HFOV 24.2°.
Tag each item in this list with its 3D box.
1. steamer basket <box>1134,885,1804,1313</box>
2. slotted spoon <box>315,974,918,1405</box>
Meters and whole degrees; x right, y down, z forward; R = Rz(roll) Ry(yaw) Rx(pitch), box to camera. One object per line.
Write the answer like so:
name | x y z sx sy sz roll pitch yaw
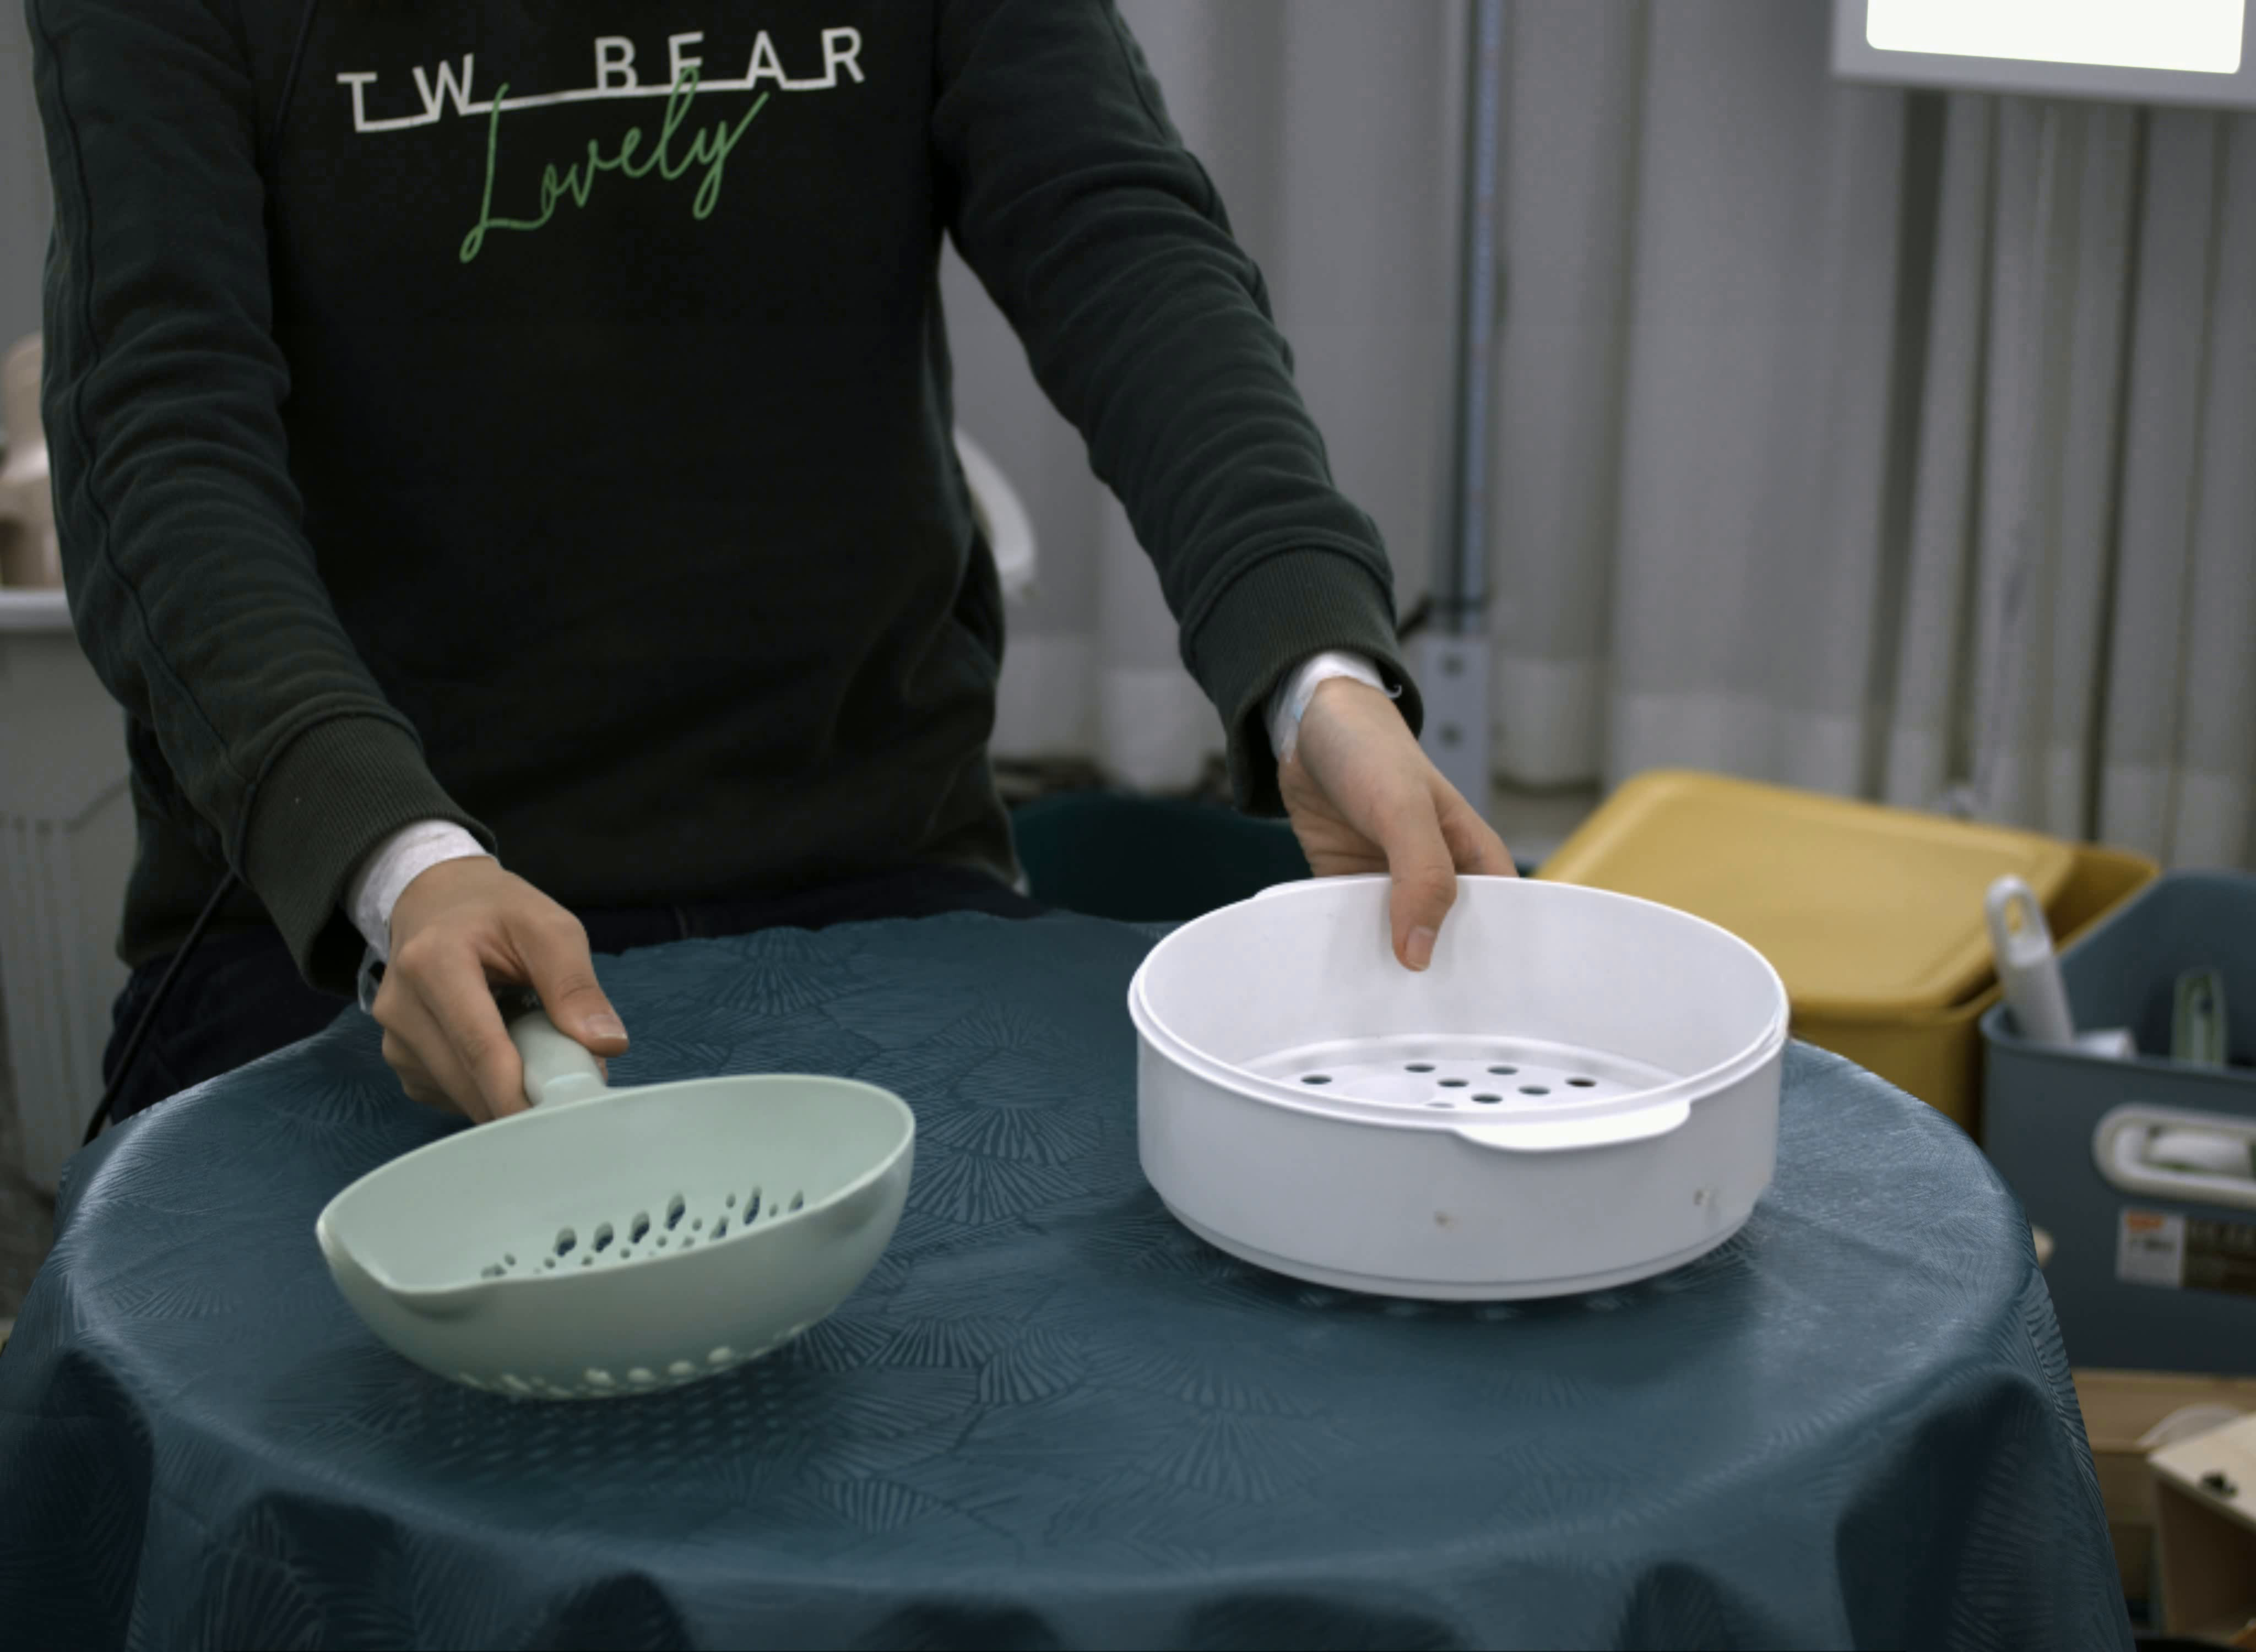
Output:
steamer basket | 0.102 0.082 1.592 0.202 0.070 0.228 -5 20 -17
slotted spoon | -0.160 0.089 1.549 0.169 0.076 0.355 -11 21 -10
